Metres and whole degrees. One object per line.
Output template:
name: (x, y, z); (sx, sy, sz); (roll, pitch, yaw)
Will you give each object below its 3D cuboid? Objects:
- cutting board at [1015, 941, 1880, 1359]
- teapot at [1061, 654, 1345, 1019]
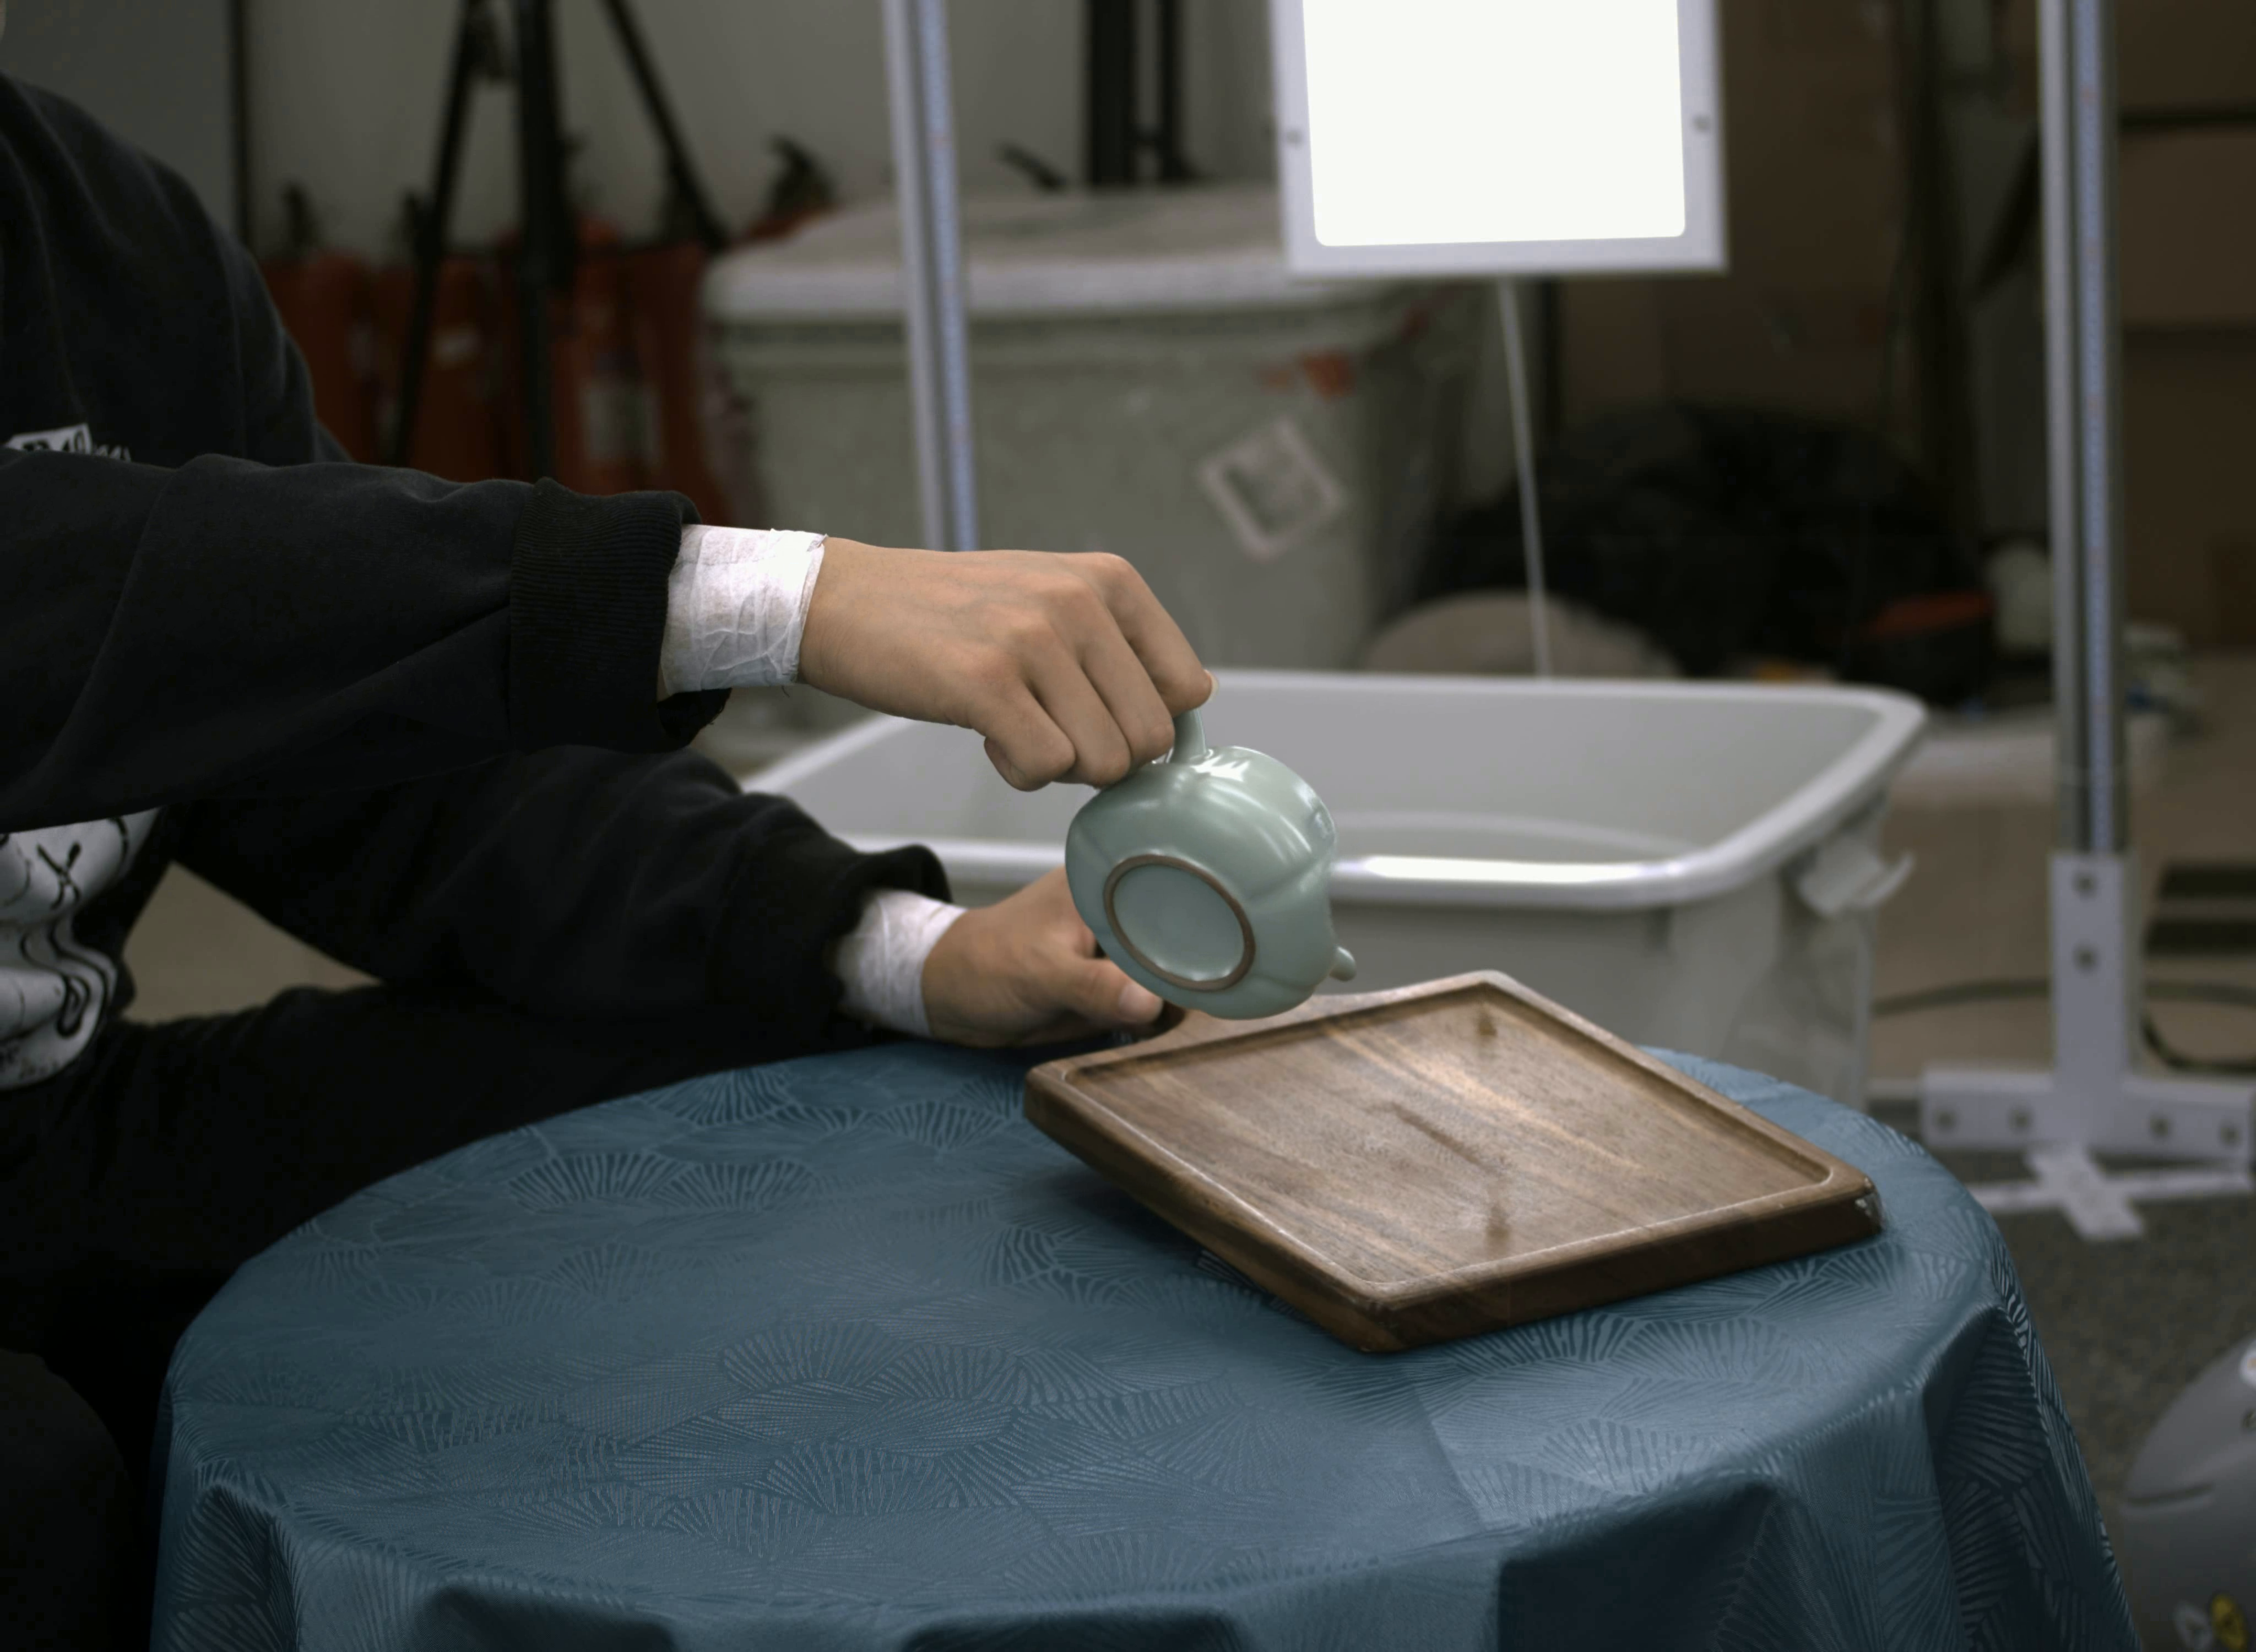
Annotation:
cutting board: (0.080, 0.096, 1.890); (0.197, 0.023, 0.358); (-12, 20, -25)
teapot: (0.026, 0.010, 1.766); (0.098, 0.136, 0.060); (-9, 29, 43)
